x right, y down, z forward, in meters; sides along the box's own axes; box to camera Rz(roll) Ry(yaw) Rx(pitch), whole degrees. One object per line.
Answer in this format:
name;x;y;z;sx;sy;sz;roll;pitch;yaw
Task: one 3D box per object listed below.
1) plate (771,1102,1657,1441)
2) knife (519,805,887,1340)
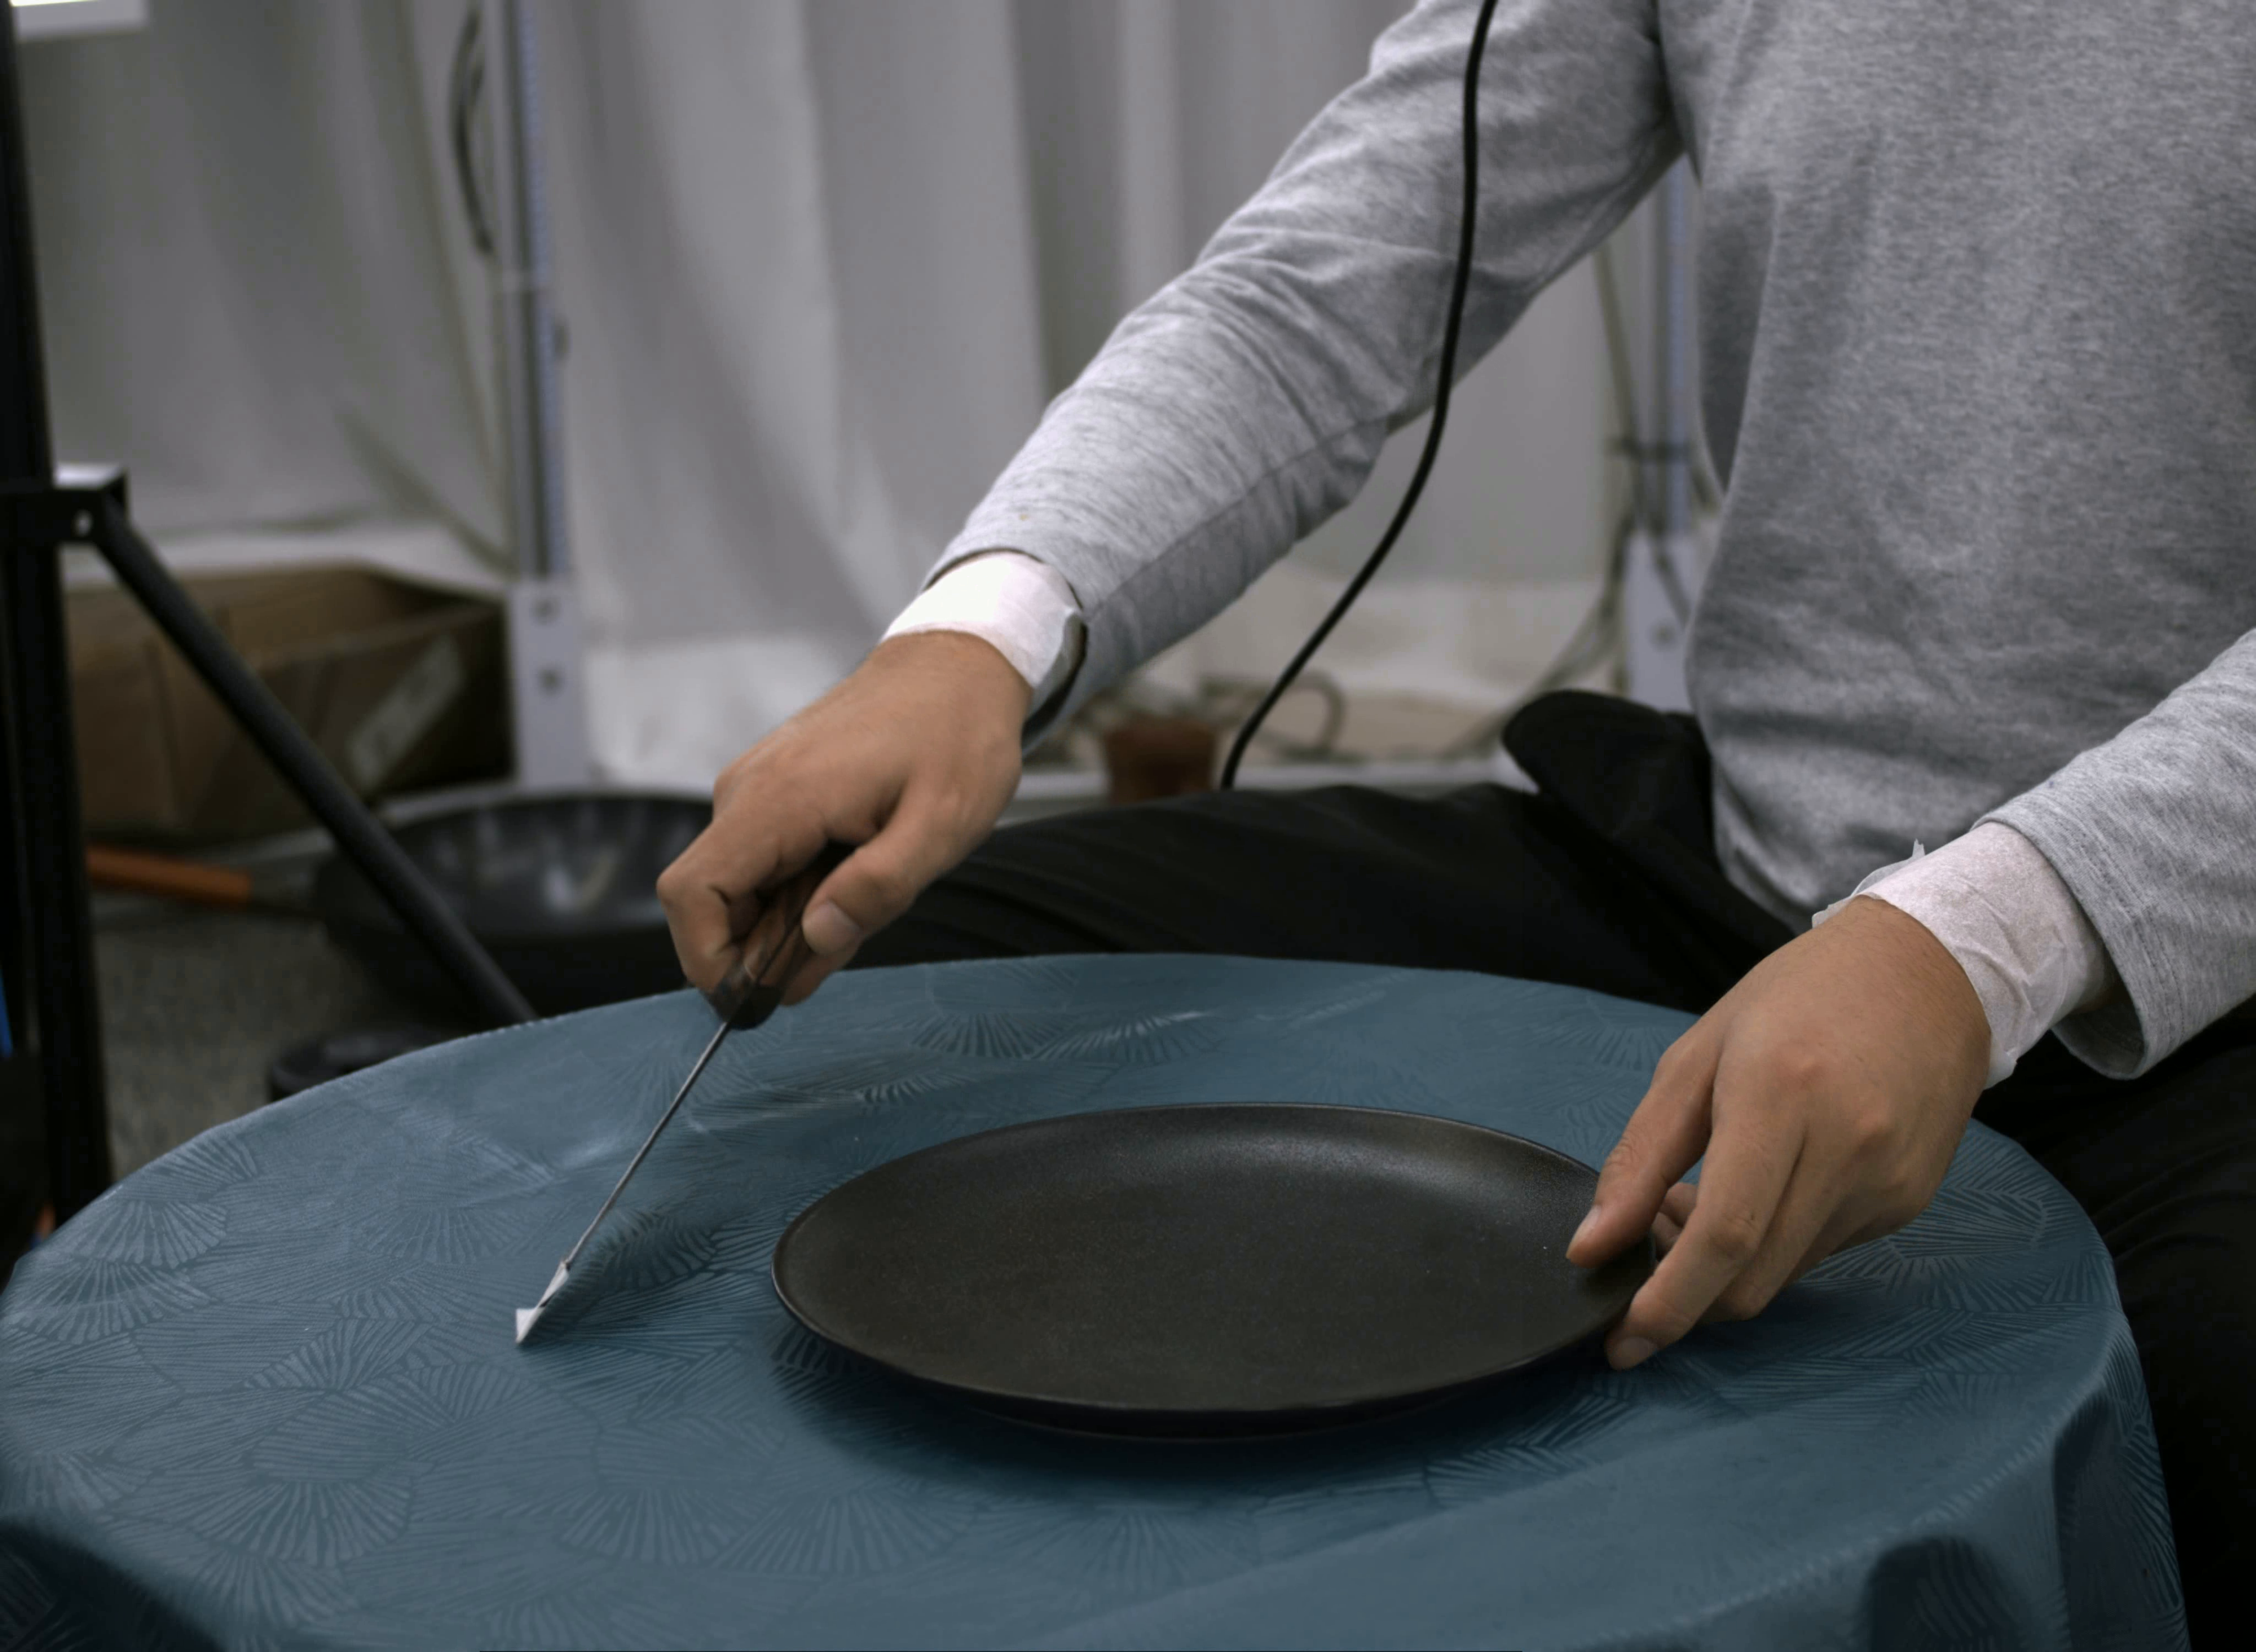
plate;0.024;0.125;1.457;0.243;0.023;0.245;-3;15;-1
knife;-0.124;0.069;1.578;0.020;0.050;0.288;33;34;-2
